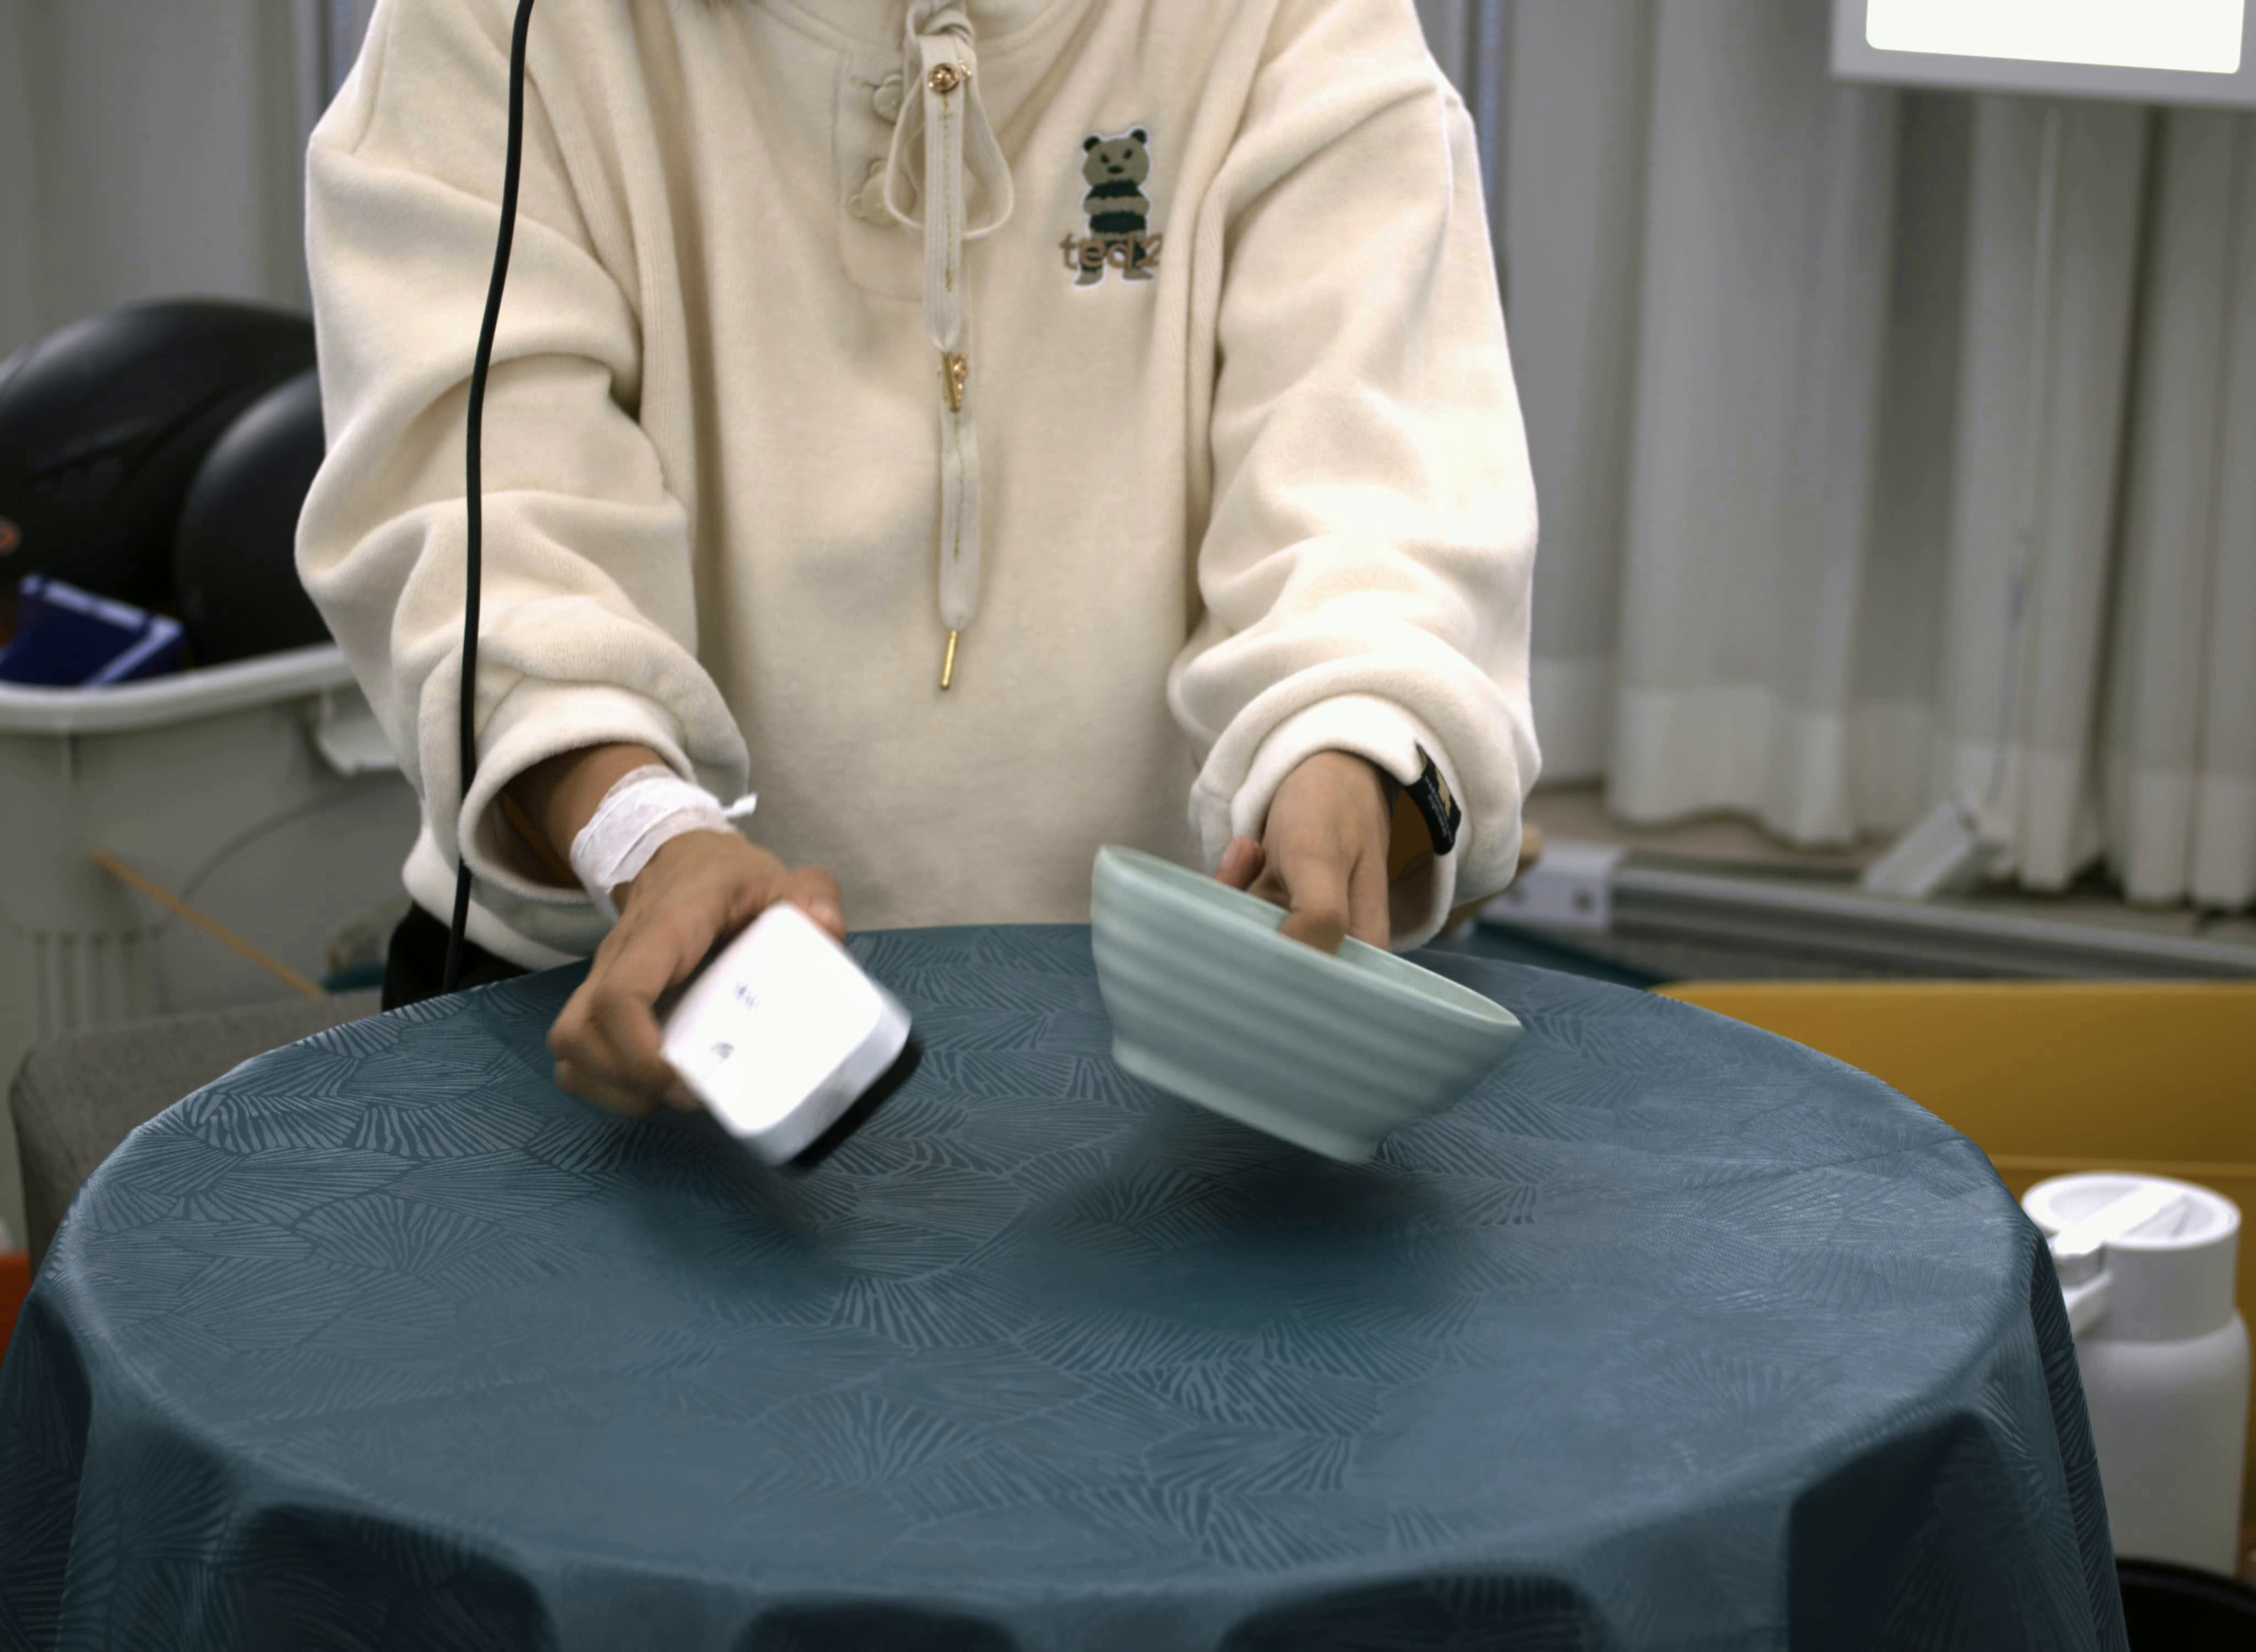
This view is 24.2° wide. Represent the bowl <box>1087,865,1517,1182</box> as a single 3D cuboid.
[{"bbox_3d":[0.044,0.064,1.599,0.151,0.059,0.151,22,3,-1],"label":"bowl"}]

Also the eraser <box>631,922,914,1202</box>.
[{"bbox_3d":[-0.108,0.068,1.599,0.063,0.035,0.130,-40,25,-5],"label":"eraser"}]
